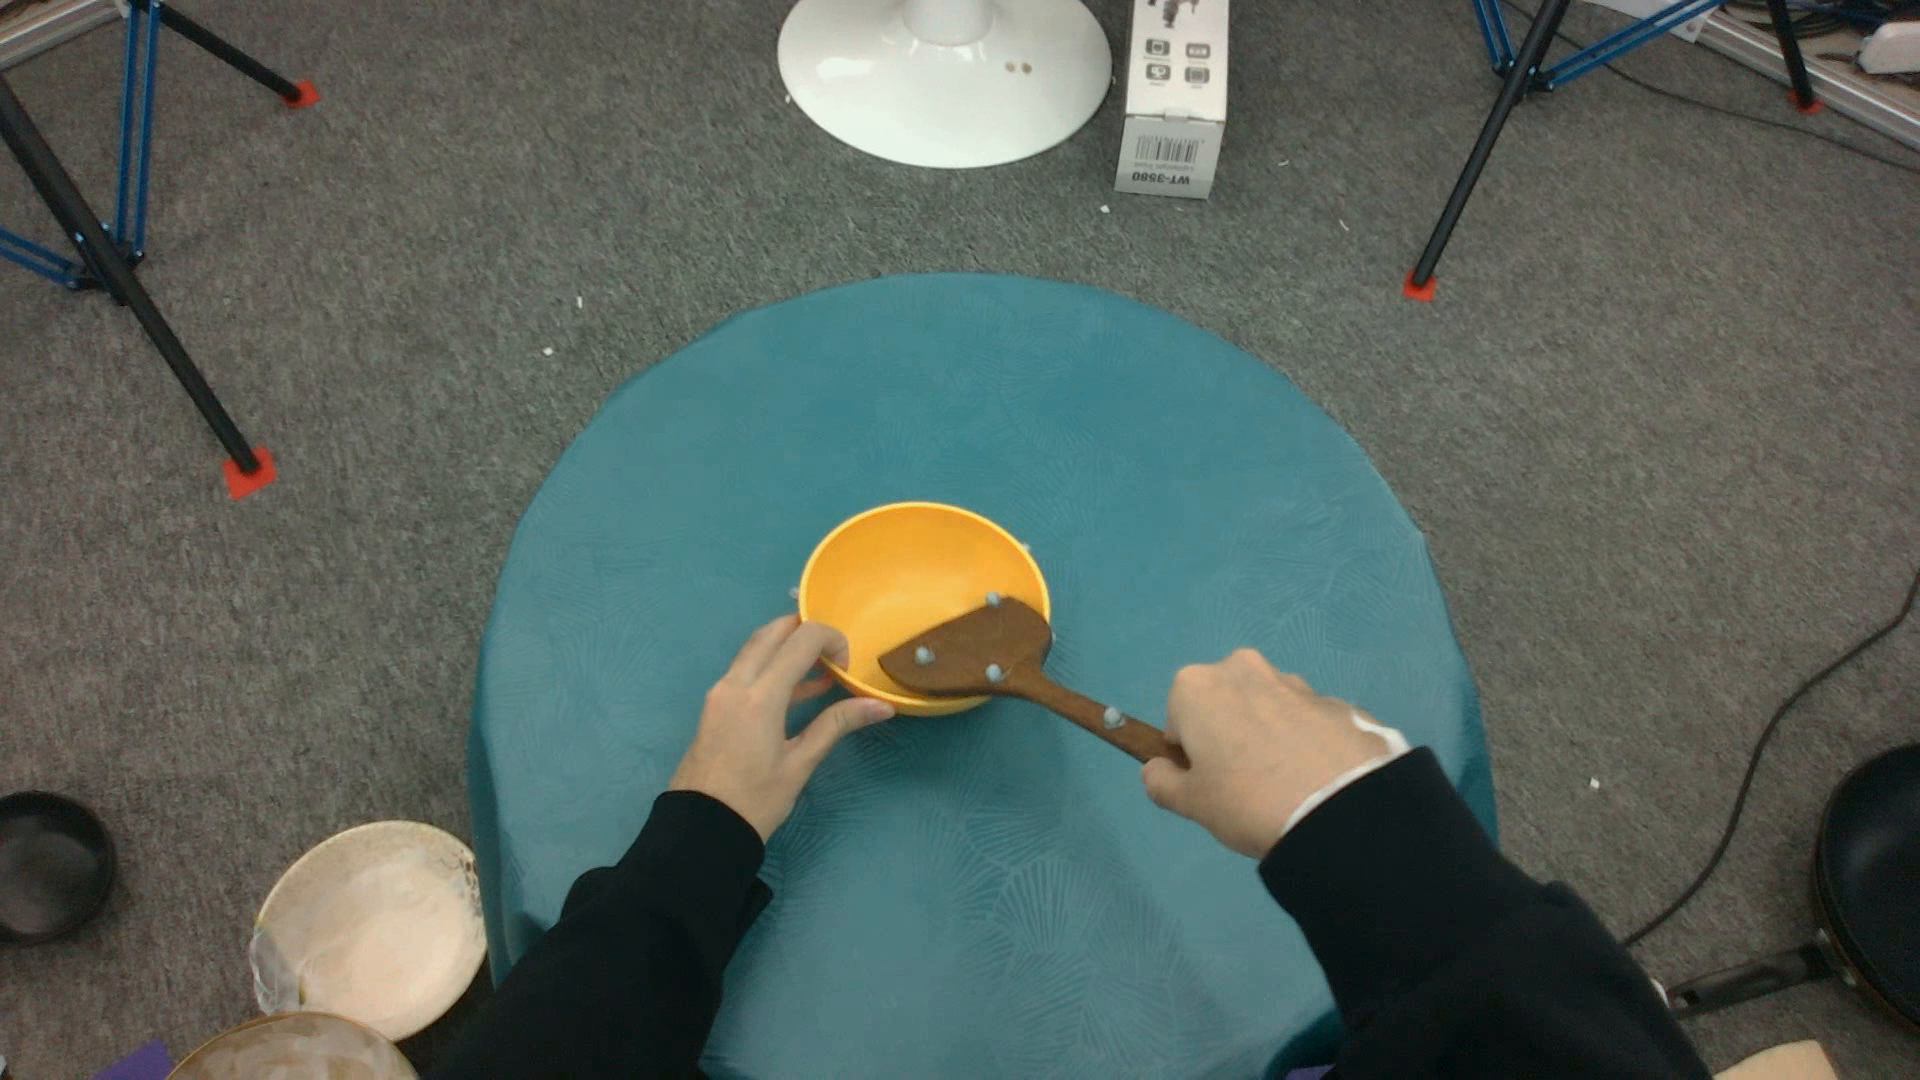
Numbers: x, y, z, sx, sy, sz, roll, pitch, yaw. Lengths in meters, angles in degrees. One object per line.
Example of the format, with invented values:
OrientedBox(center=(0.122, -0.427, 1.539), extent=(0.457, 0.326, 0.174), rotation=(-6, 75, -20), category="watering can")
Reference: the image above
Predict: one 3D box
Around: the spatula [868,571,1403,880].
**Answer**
OrientedBox(center=(0.064, 0.073, 0.637), extent=(0.096, 0.016, 0.385), rotation=(-24, 19, -20), category="spatula")

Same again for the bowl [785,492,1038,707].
OrientedBox(center=(-0.029, 0.045, 0.812), extent=(0.145, 0.060, 0.146), rotation=(2, 52, -3), category="bowl")
